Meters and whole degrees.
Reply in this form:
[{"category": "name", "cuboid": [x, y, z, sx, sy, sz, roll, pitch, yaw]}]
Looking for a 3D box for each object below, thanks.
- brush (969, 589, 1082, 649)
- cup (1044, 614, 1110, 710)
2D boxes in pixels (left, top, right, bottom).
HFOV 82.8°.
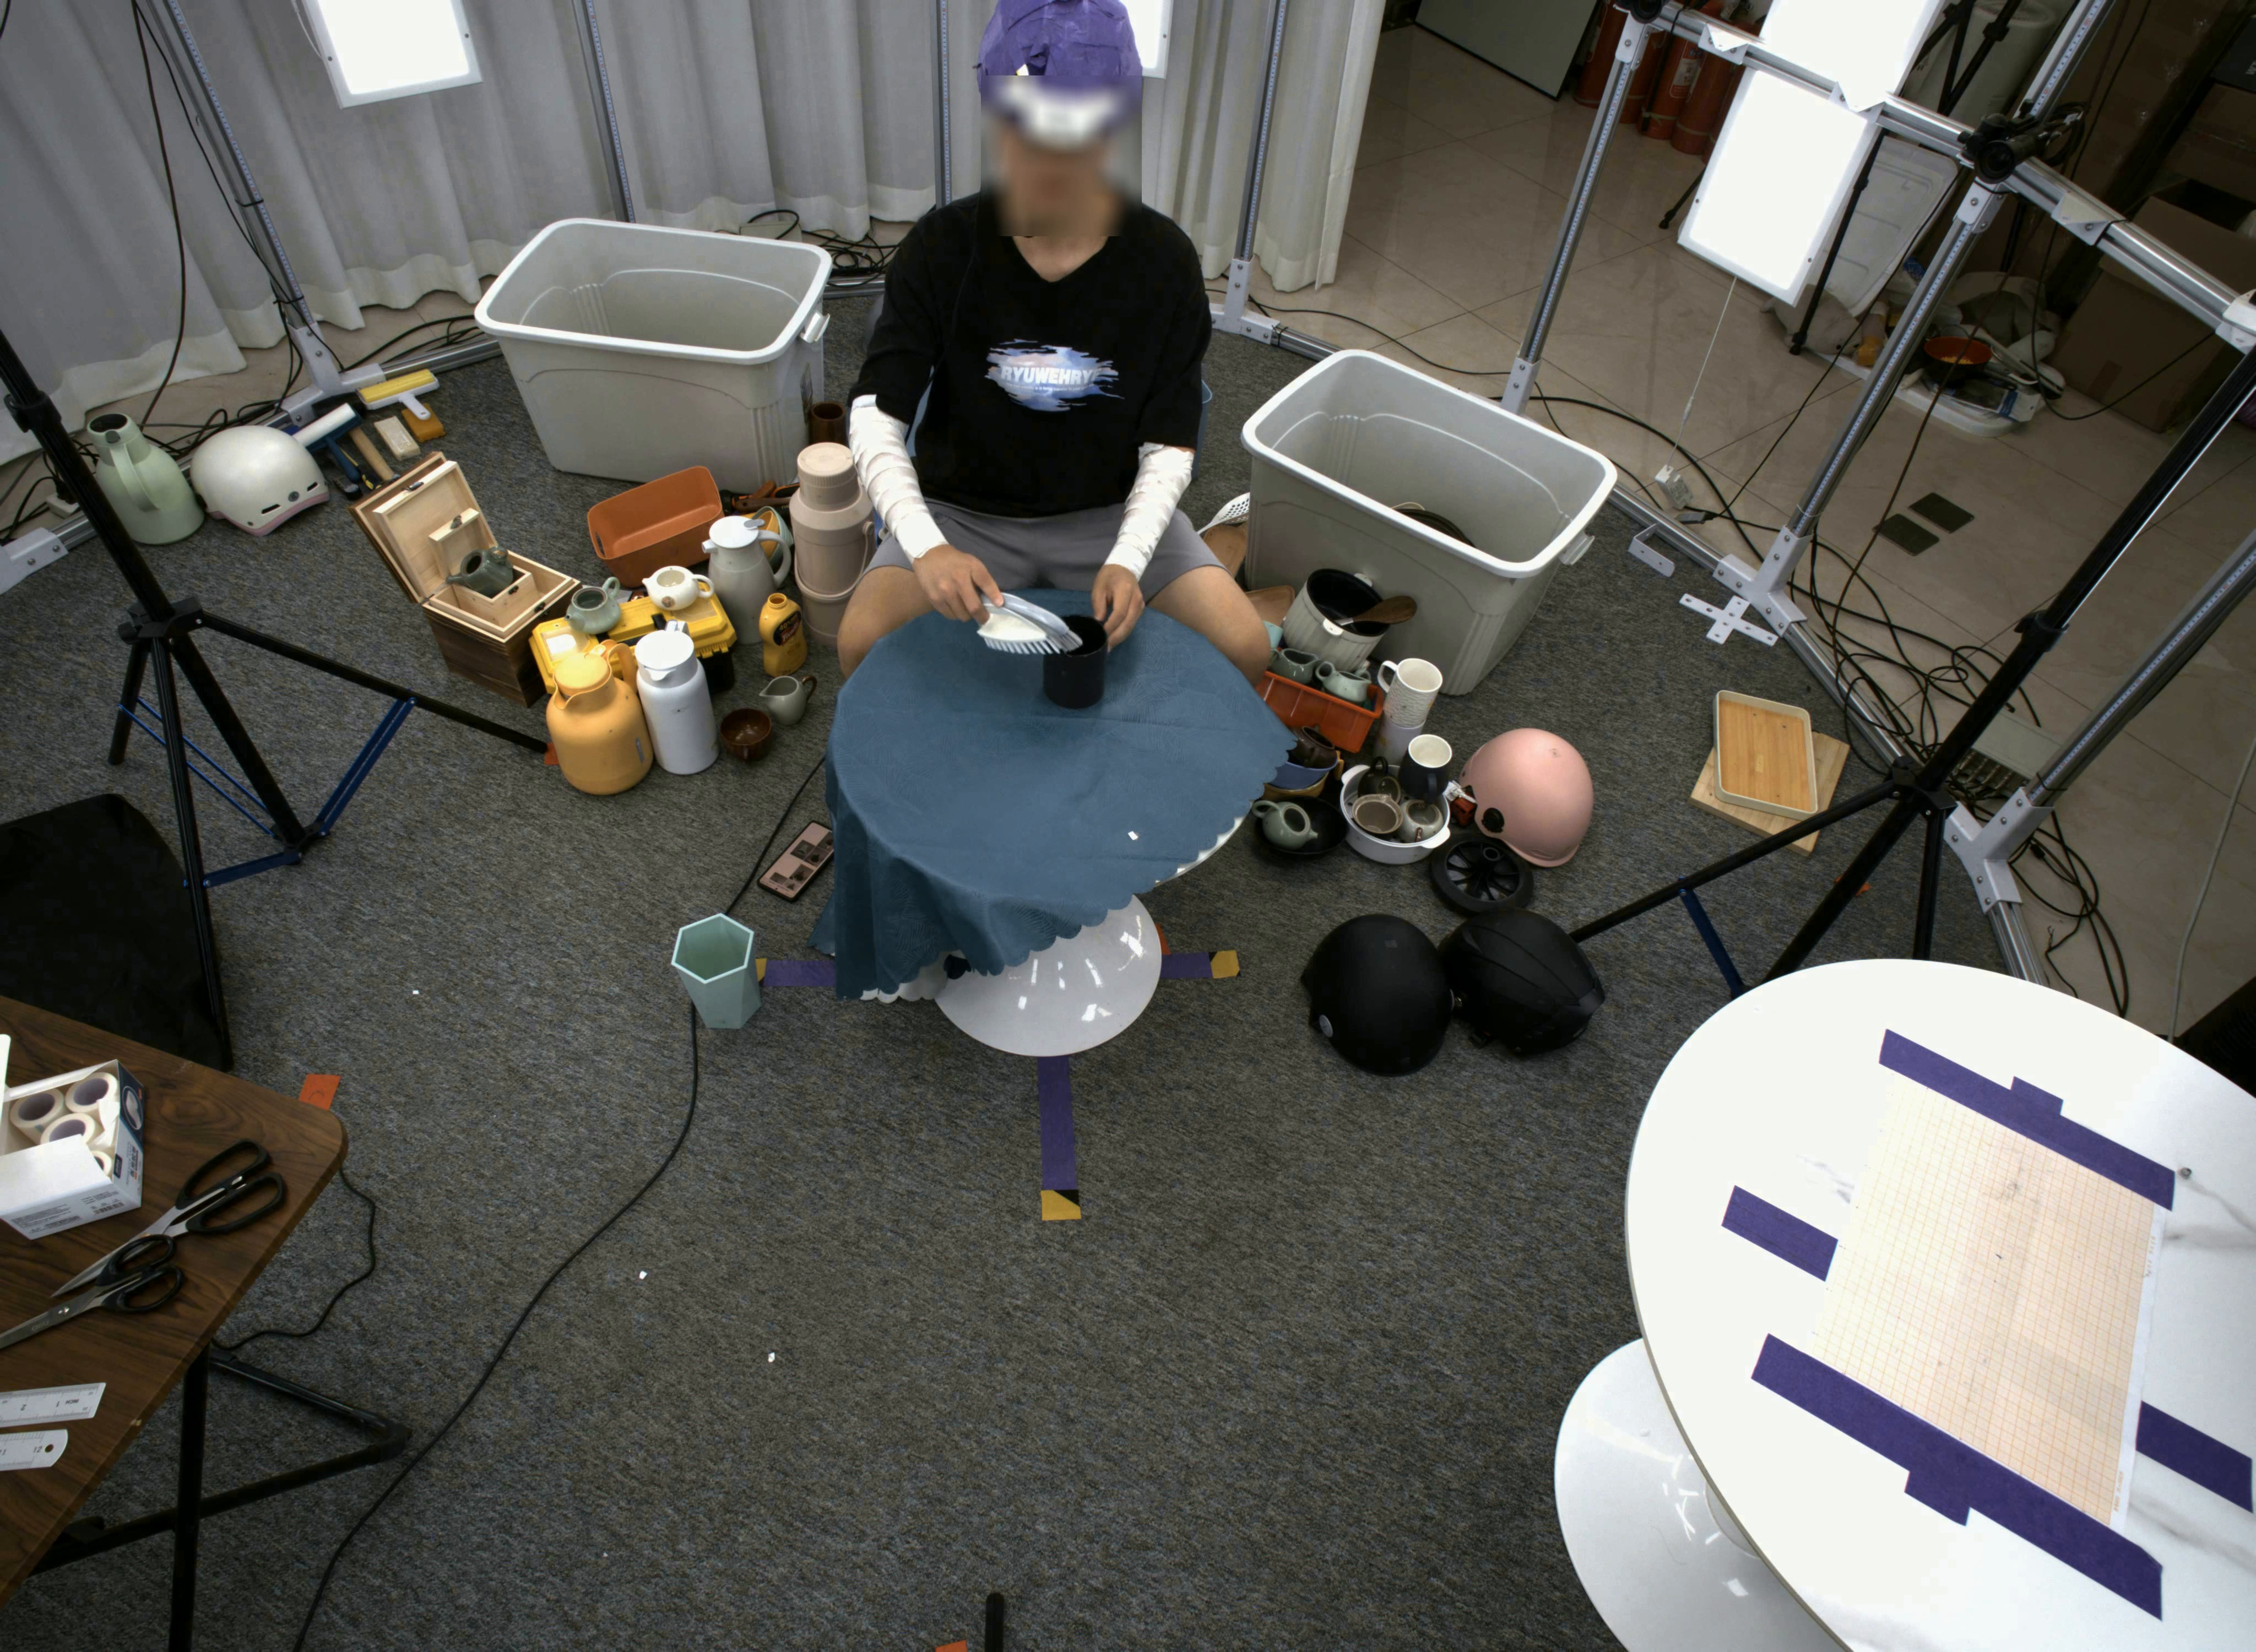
[{"category": "brush", "cuboid": [-0.146, -0.285, 1.750, 0.177, 0.092, 0.062, 18, 74, 41]}, {"category": "cup", "cuboid": [-0.063, -0.241, 1.812, 0.089, 0.102, 0.125, 23, 50, 21]}]
